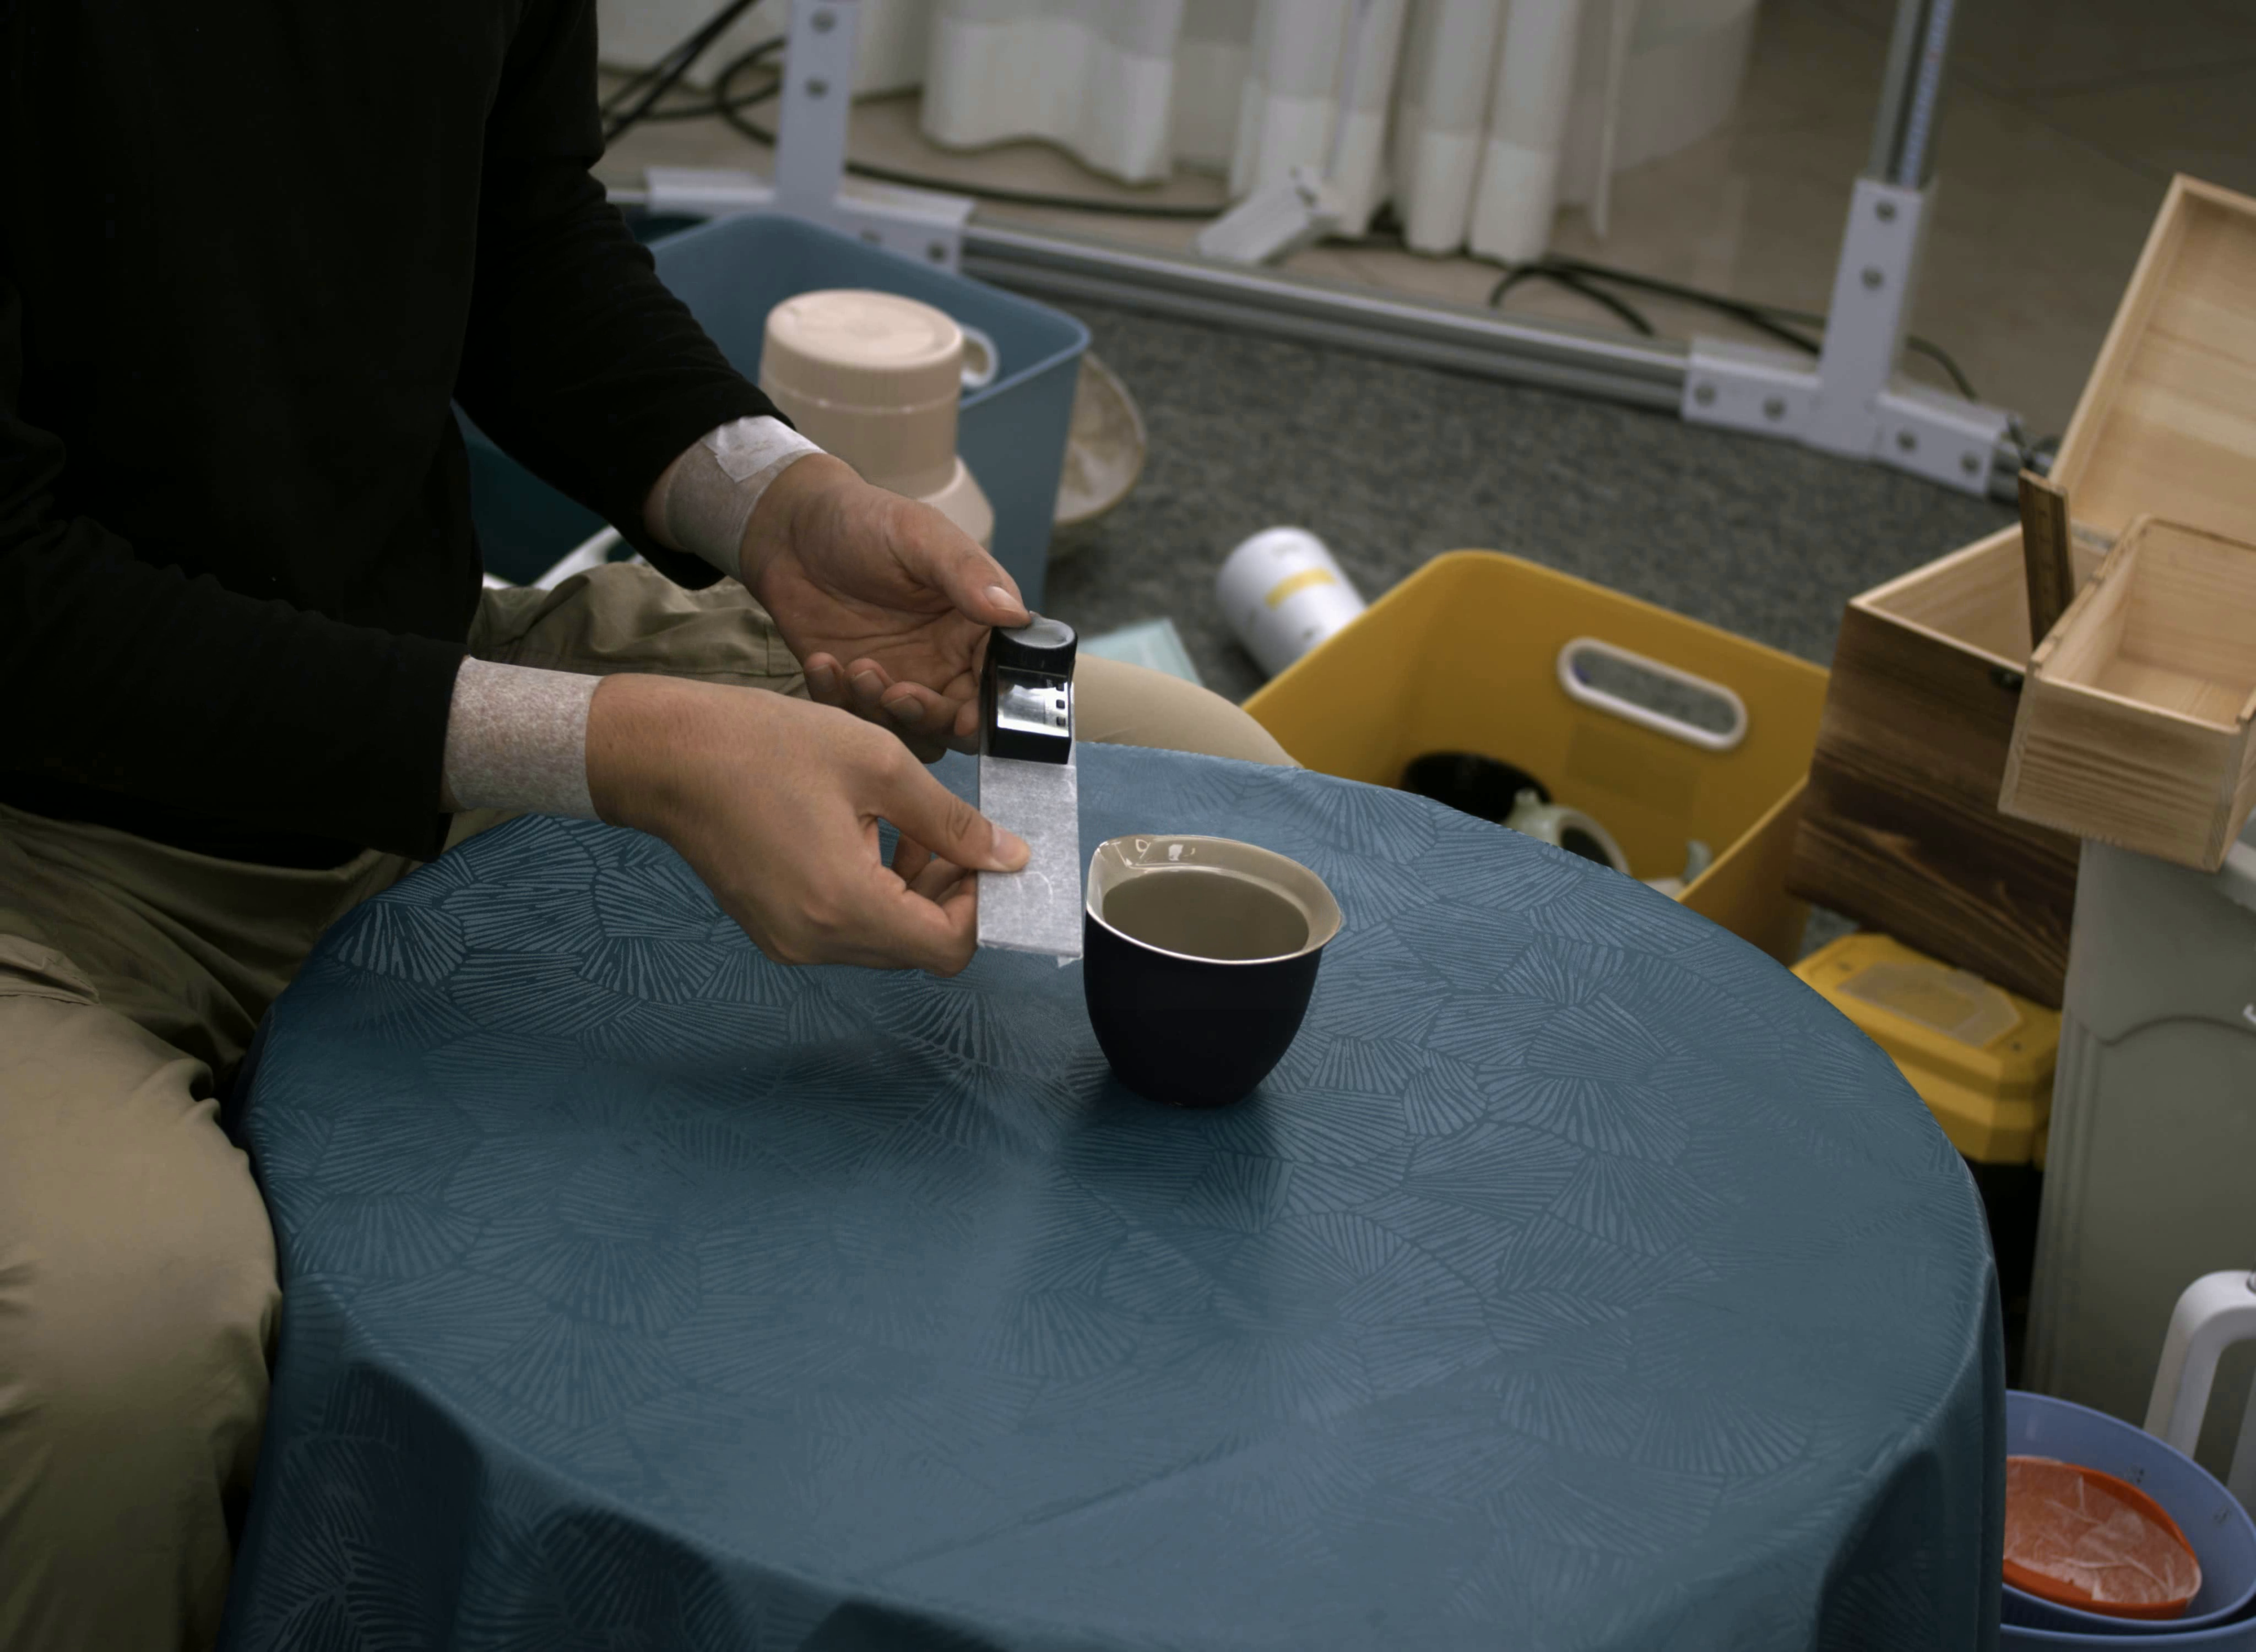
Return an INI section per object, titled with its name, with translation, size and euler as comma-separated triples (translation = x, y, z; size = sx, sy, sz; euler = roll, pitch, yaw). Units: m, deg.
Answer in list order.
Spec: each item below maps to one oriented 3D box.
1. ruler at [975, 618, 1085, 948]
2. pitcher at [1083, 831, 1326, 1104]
[ruler]
translation = -0.035, -0.018, 1.879
size = 0.038, 0.024, 0.219
euler = 2, 27, -2
[pitcher]
translation = 0.021, 0.053, 1.865
size = 0.083, 0.071, 0.097
euler = -17, 36, -37
